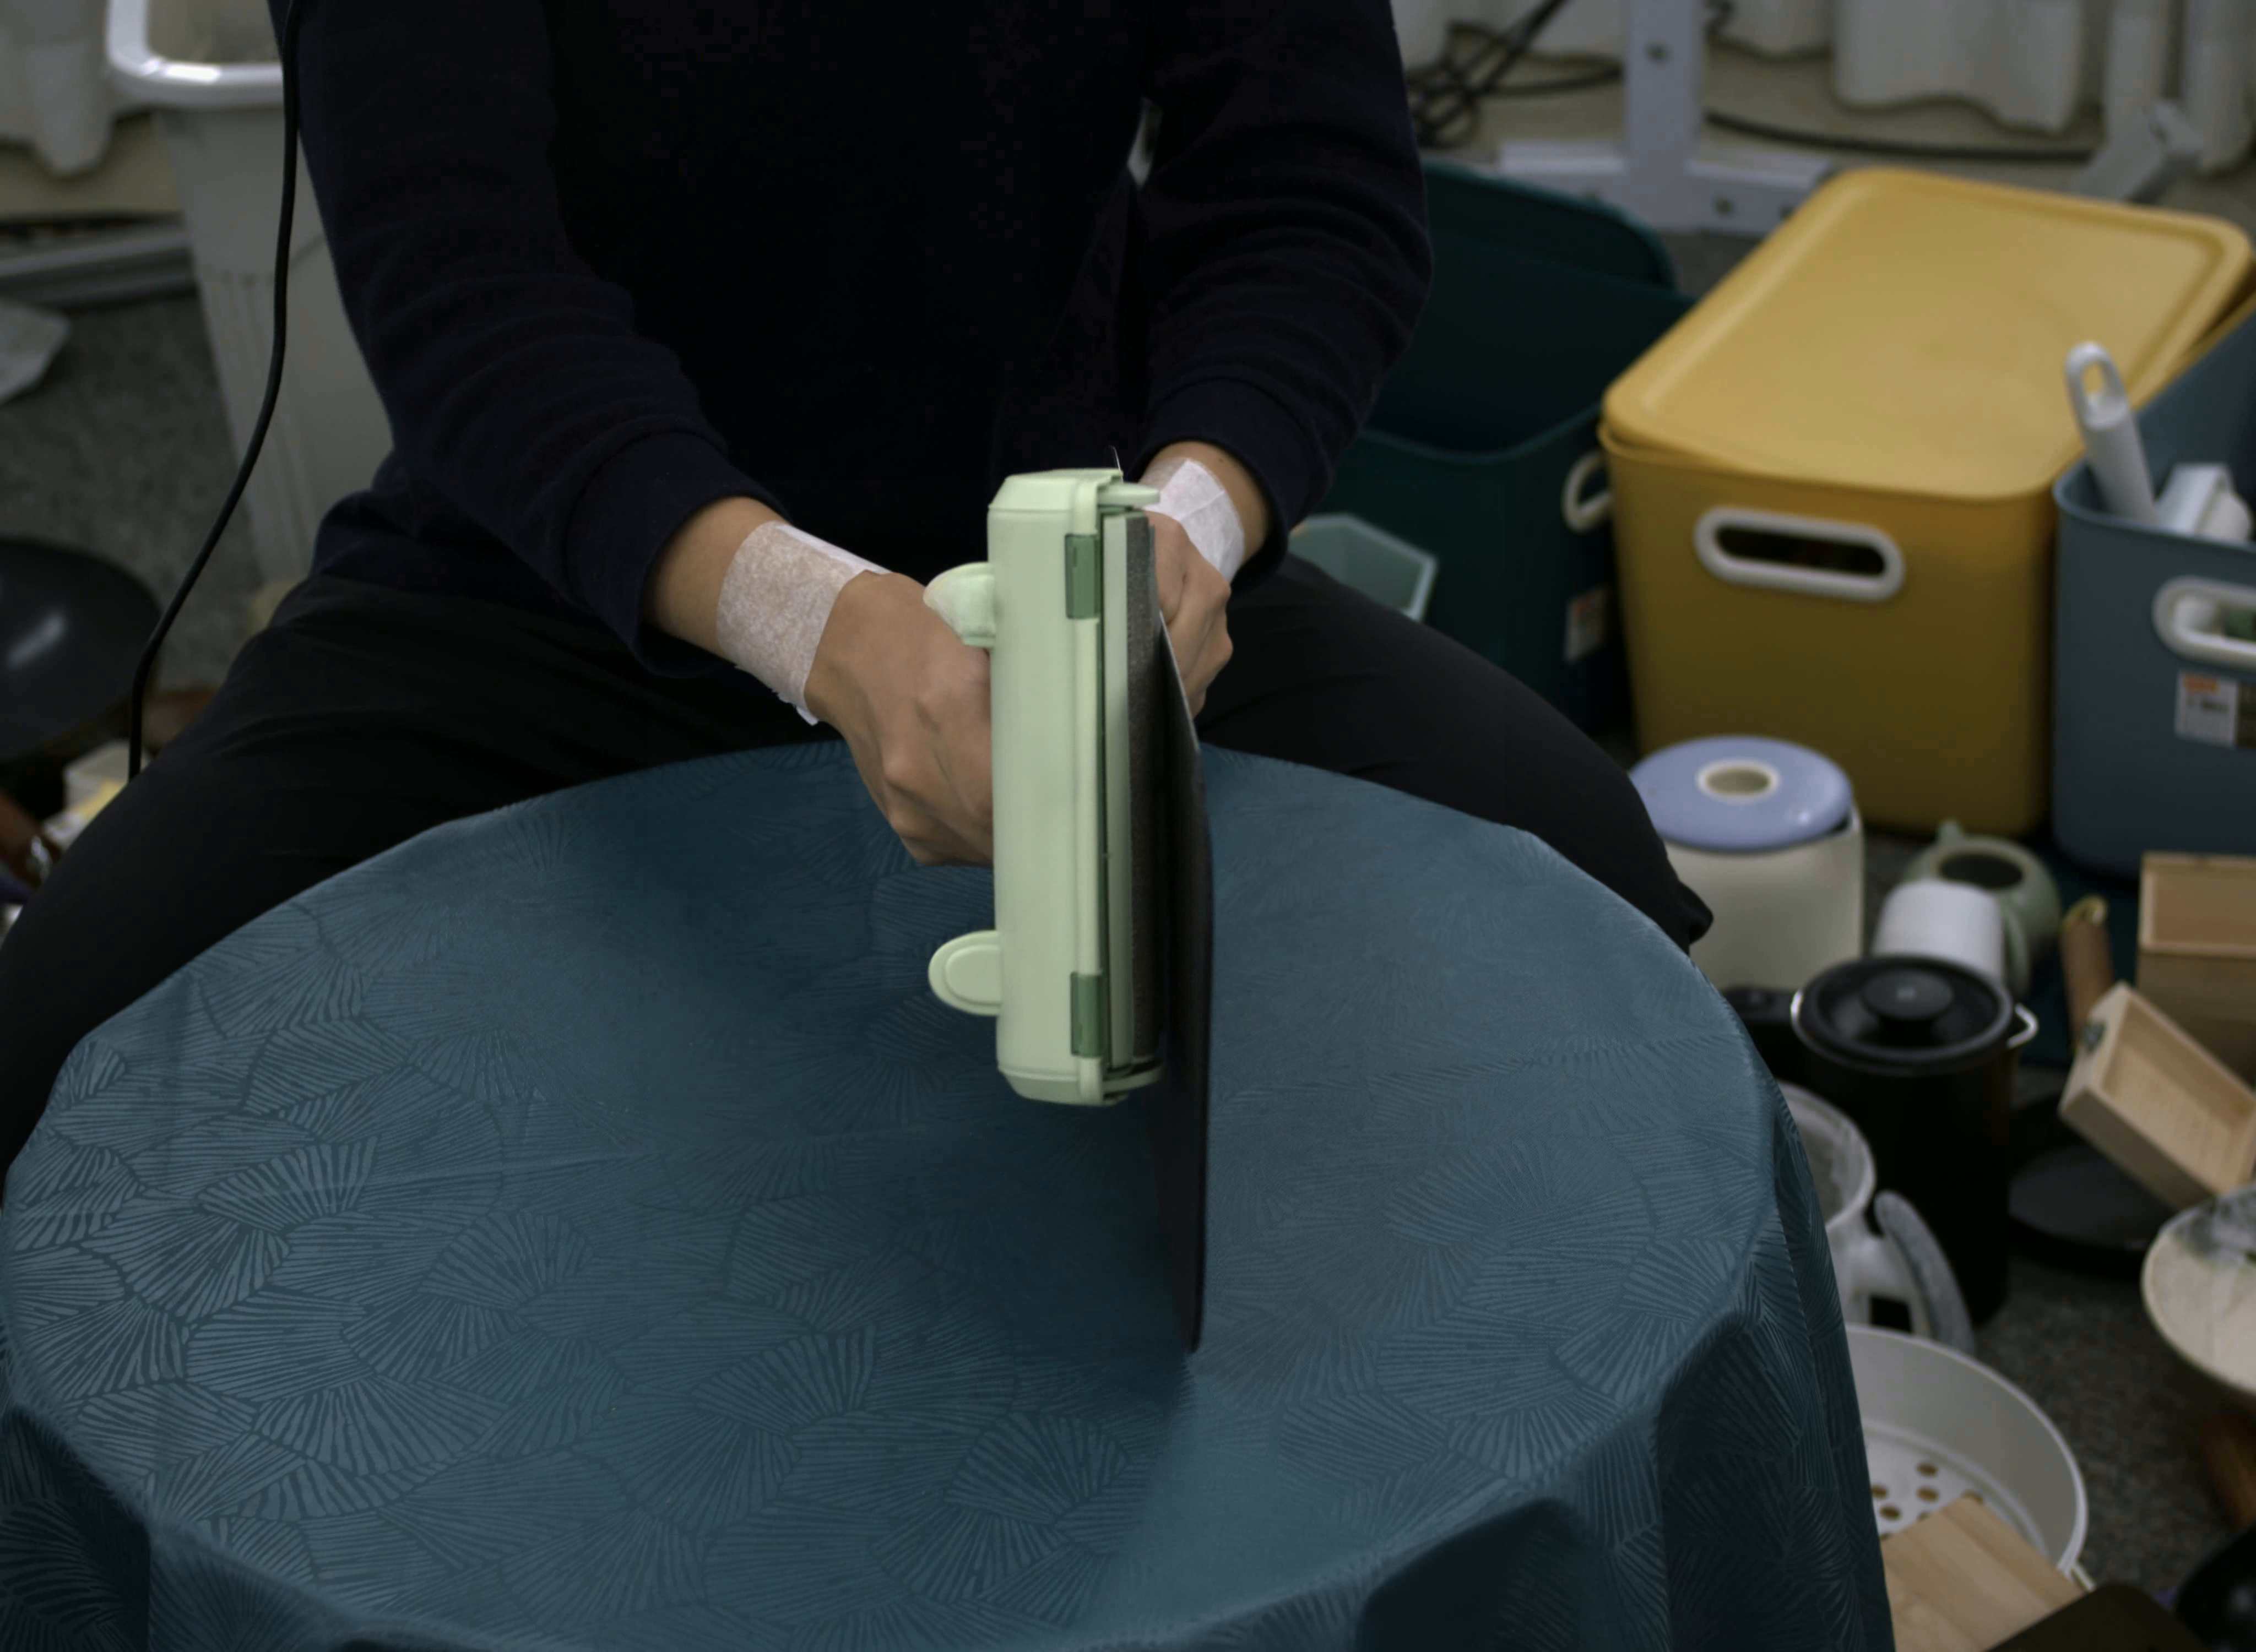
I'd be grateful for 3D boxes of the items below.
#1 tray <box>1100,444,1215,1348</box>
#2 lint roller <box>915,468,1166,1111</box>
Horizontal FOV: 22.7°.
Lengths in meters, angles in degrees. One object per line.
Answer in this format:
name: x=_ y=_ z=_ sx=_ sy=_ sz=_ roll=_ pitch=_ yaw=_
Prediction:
tray: x=0.006 y=0.012 z=1.844 sx=0.010 sy=0.209 sz=0.330 roll=-2 pitch=26 yaw=-6
lint roller: x=-0.046 y=-0.016 z=1.800 sx=0.082 sy=0.199 sz=0.182 roll=-2 pitch=4 yaw=-24
